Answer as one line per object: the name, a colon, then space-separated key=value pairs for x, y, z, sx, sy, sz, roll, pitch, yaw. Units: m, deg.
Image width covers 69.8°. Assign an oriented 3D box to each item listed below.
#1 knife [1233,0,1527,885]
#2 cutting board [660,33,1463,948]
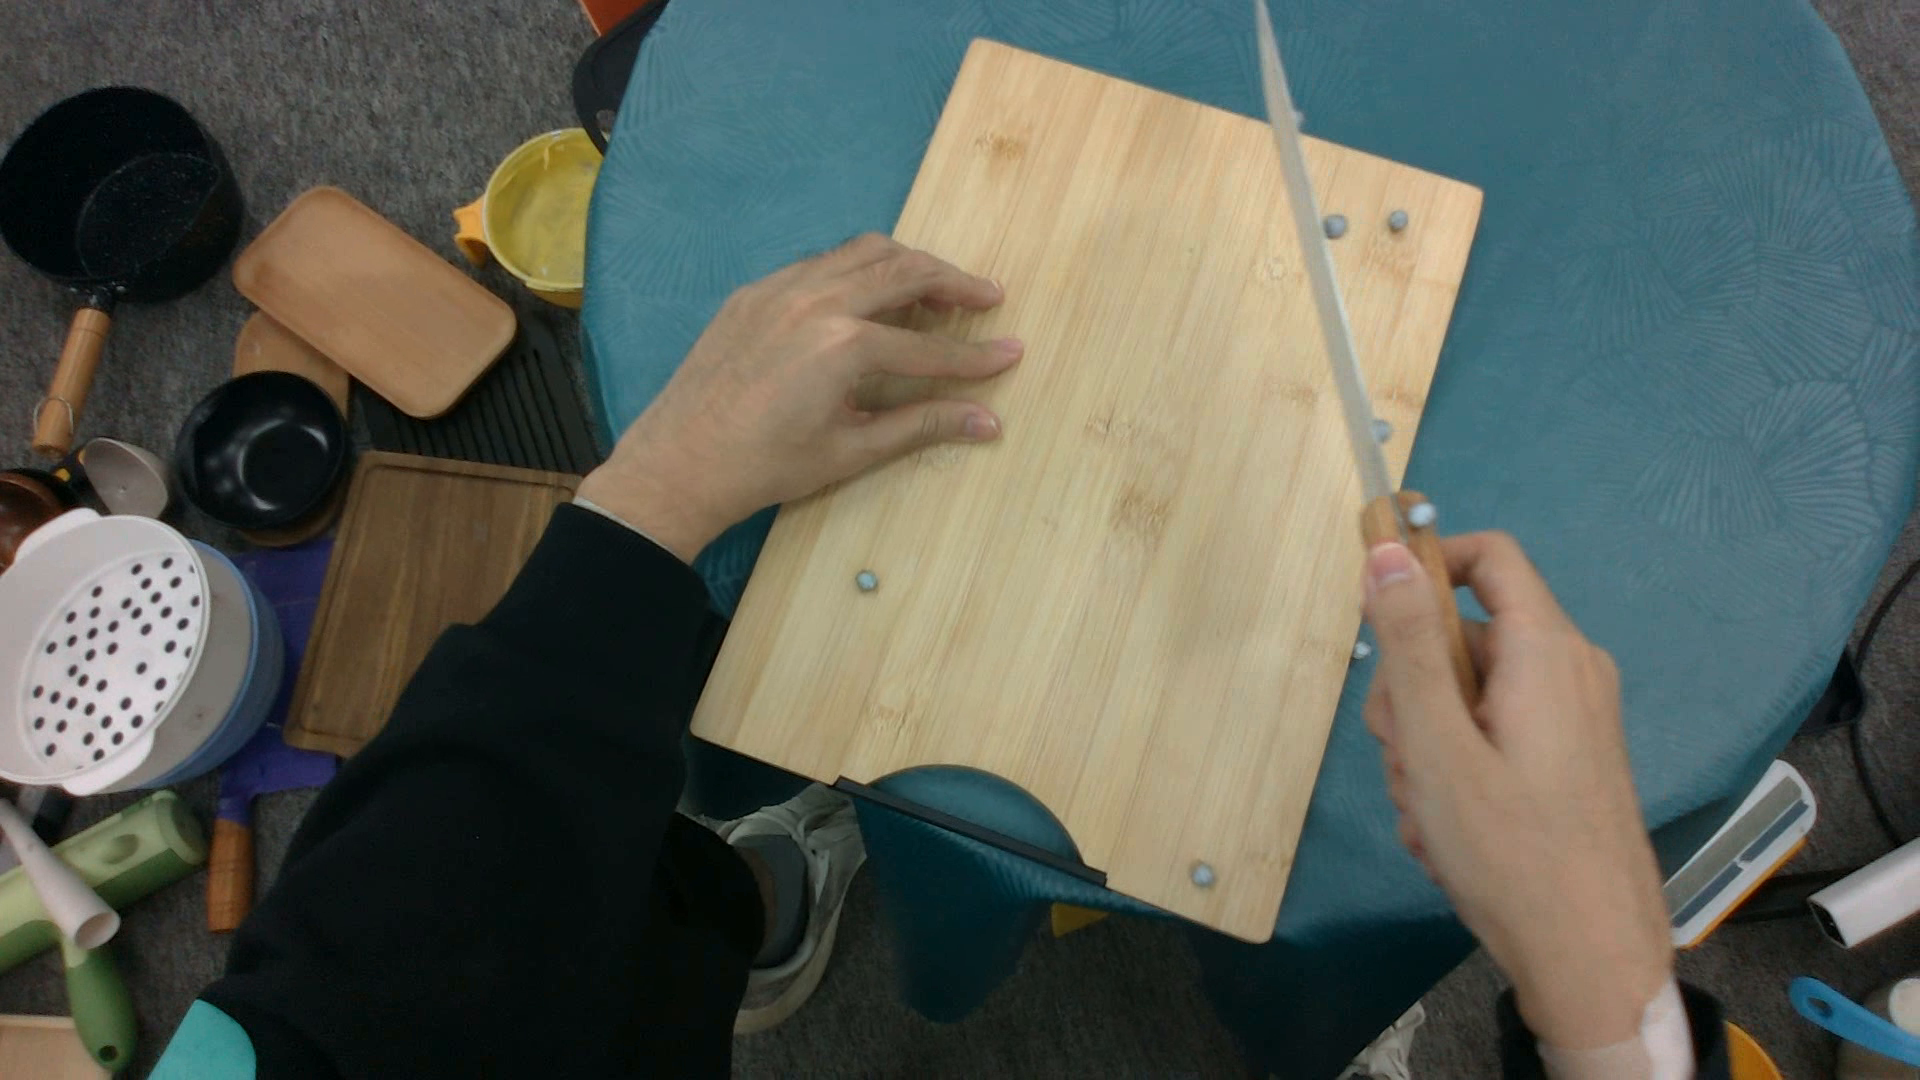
knife: x=0.134 y=-0.039 z=0.470 sx=0.021 sy=0.093 sz=0.306 roll=-15 pitch=76 yaw=11
cutting board: x=0.053 y=-0.036 z=0.585 sx=0.250 sy=0.023 sz=0.349 roll=18 pitch=74 yaw=5
